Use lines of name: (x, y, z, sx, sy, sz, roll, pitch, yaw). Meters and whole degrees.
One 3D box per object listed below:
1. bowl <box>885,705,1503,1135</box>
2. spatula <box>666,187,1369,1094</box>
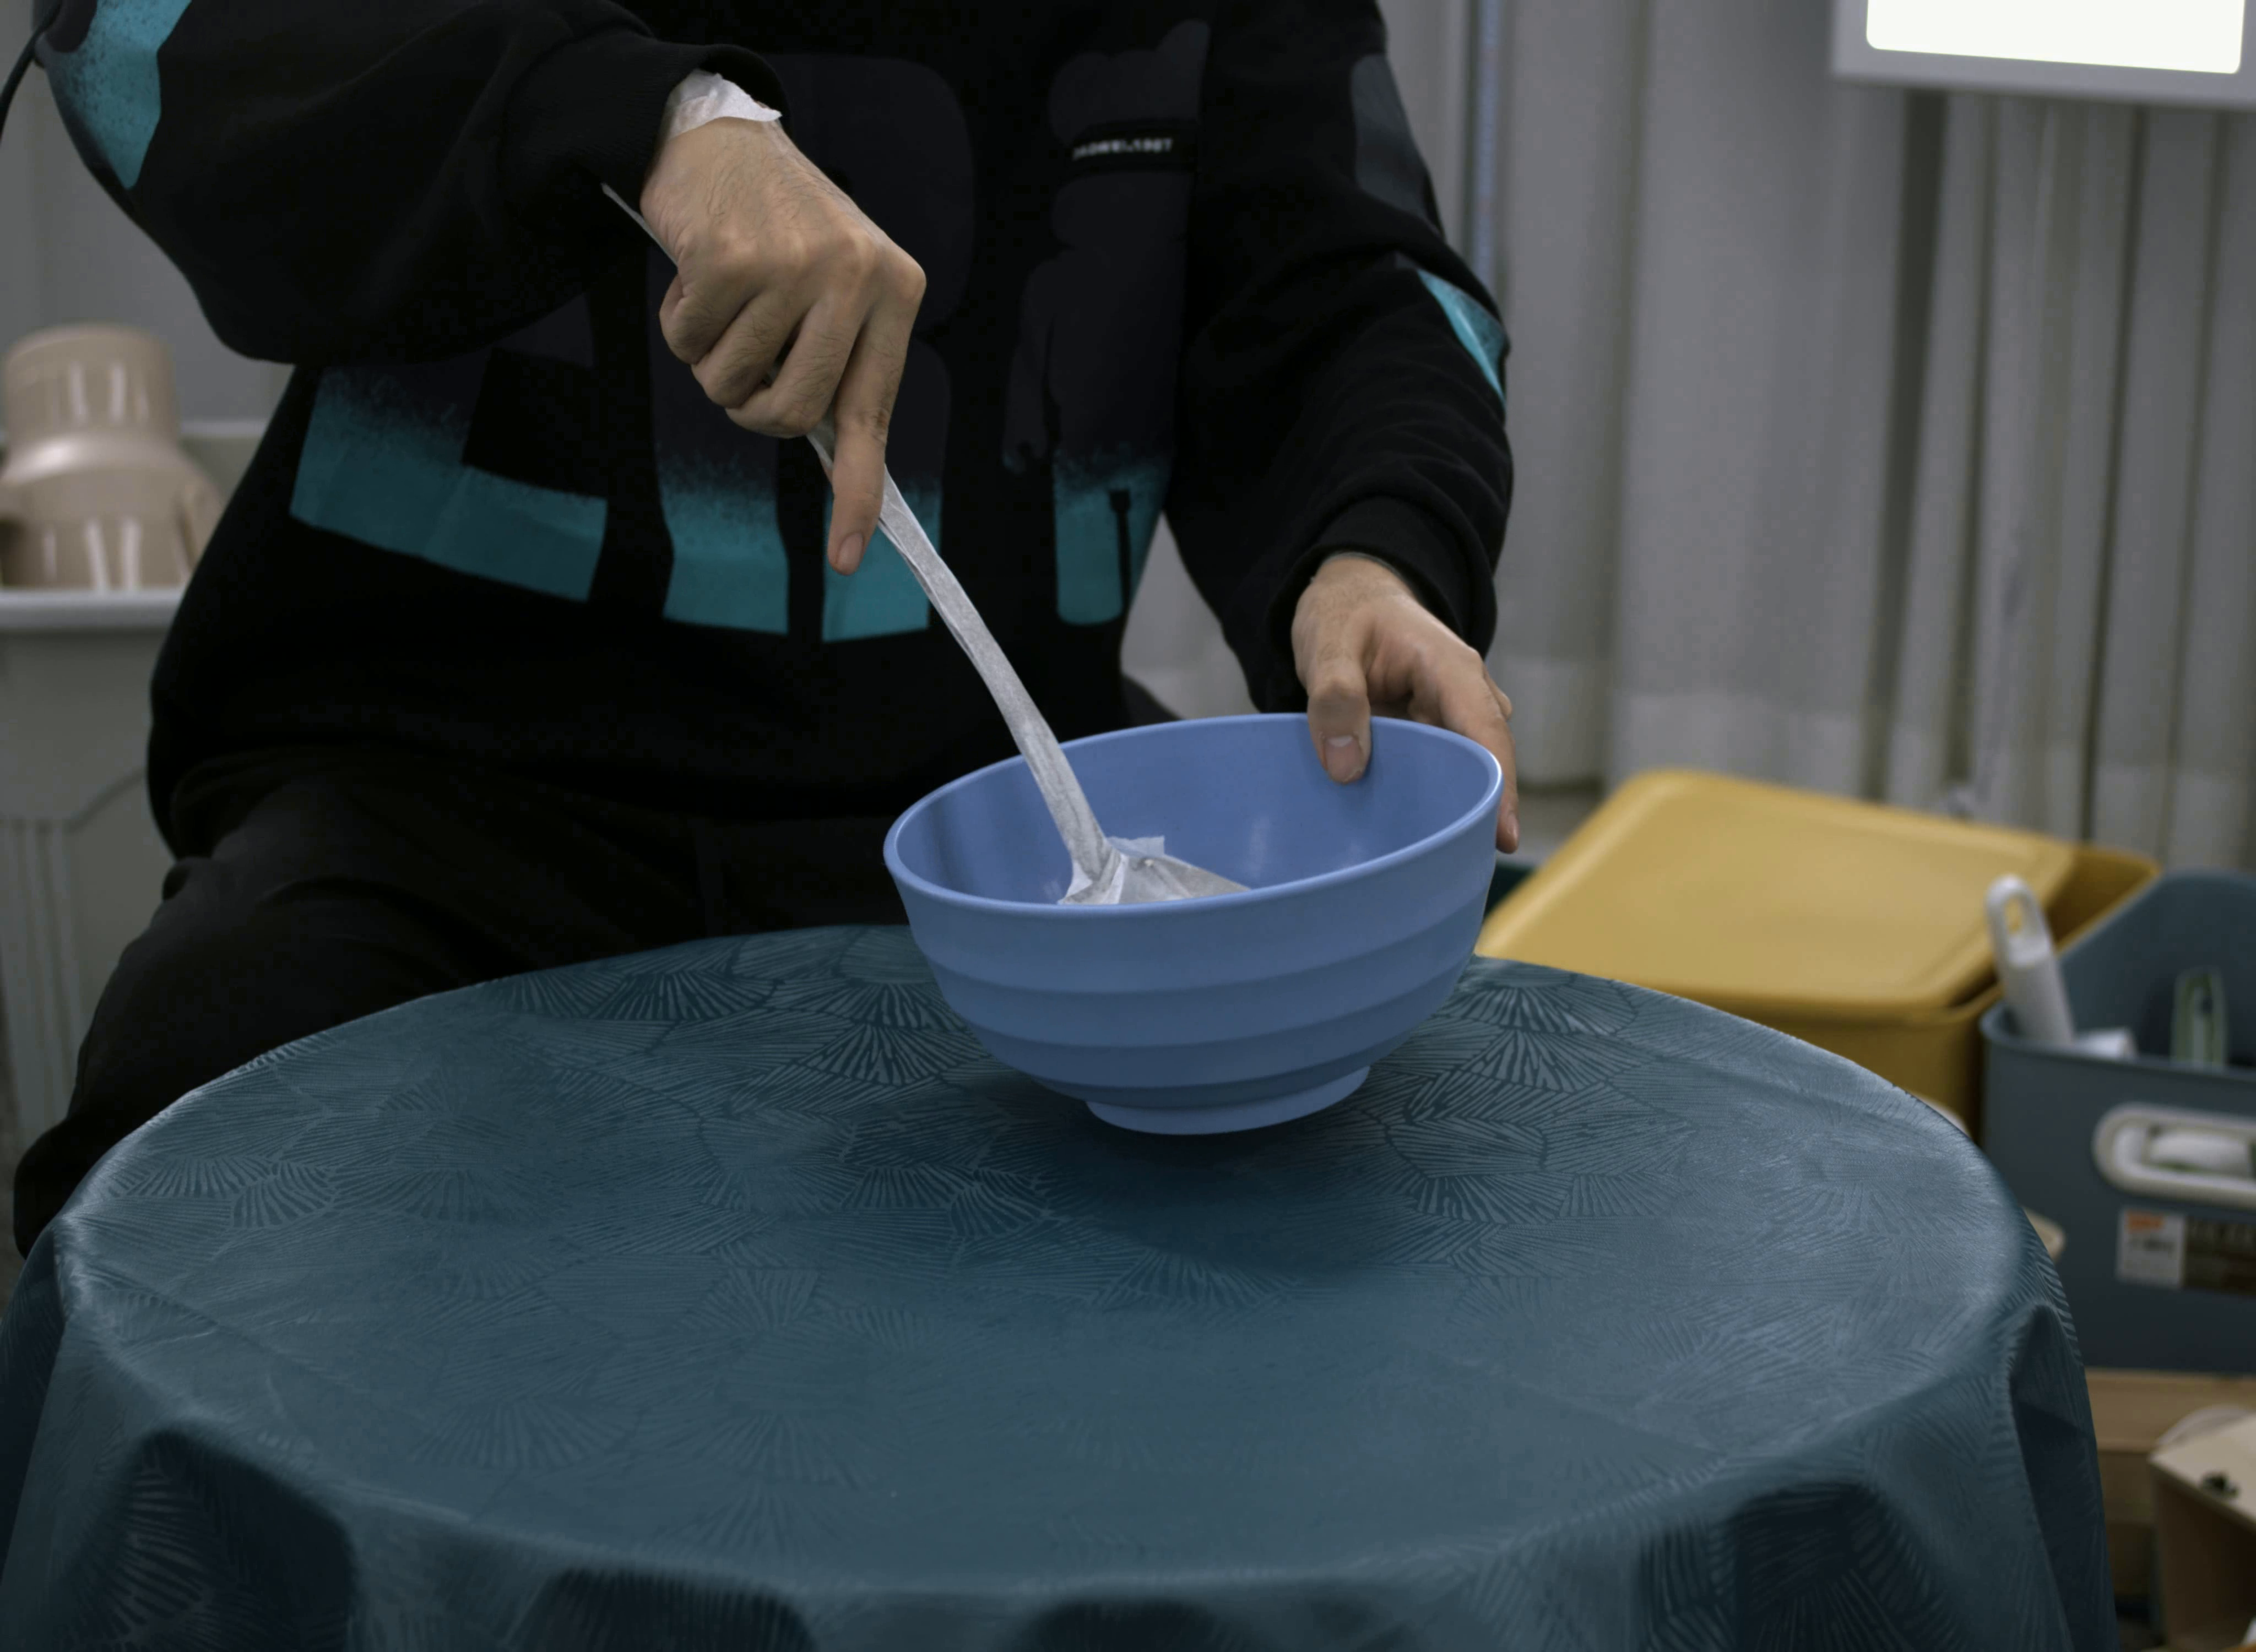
bowl: (0.026, 0.037, 1.669, 0.196, 0.096, 0.195, -6, 19, 3)
spatula: (-0.045, -0.065, 1.677, 0.099, 0.364, 0.045, -26, -10, -45)
